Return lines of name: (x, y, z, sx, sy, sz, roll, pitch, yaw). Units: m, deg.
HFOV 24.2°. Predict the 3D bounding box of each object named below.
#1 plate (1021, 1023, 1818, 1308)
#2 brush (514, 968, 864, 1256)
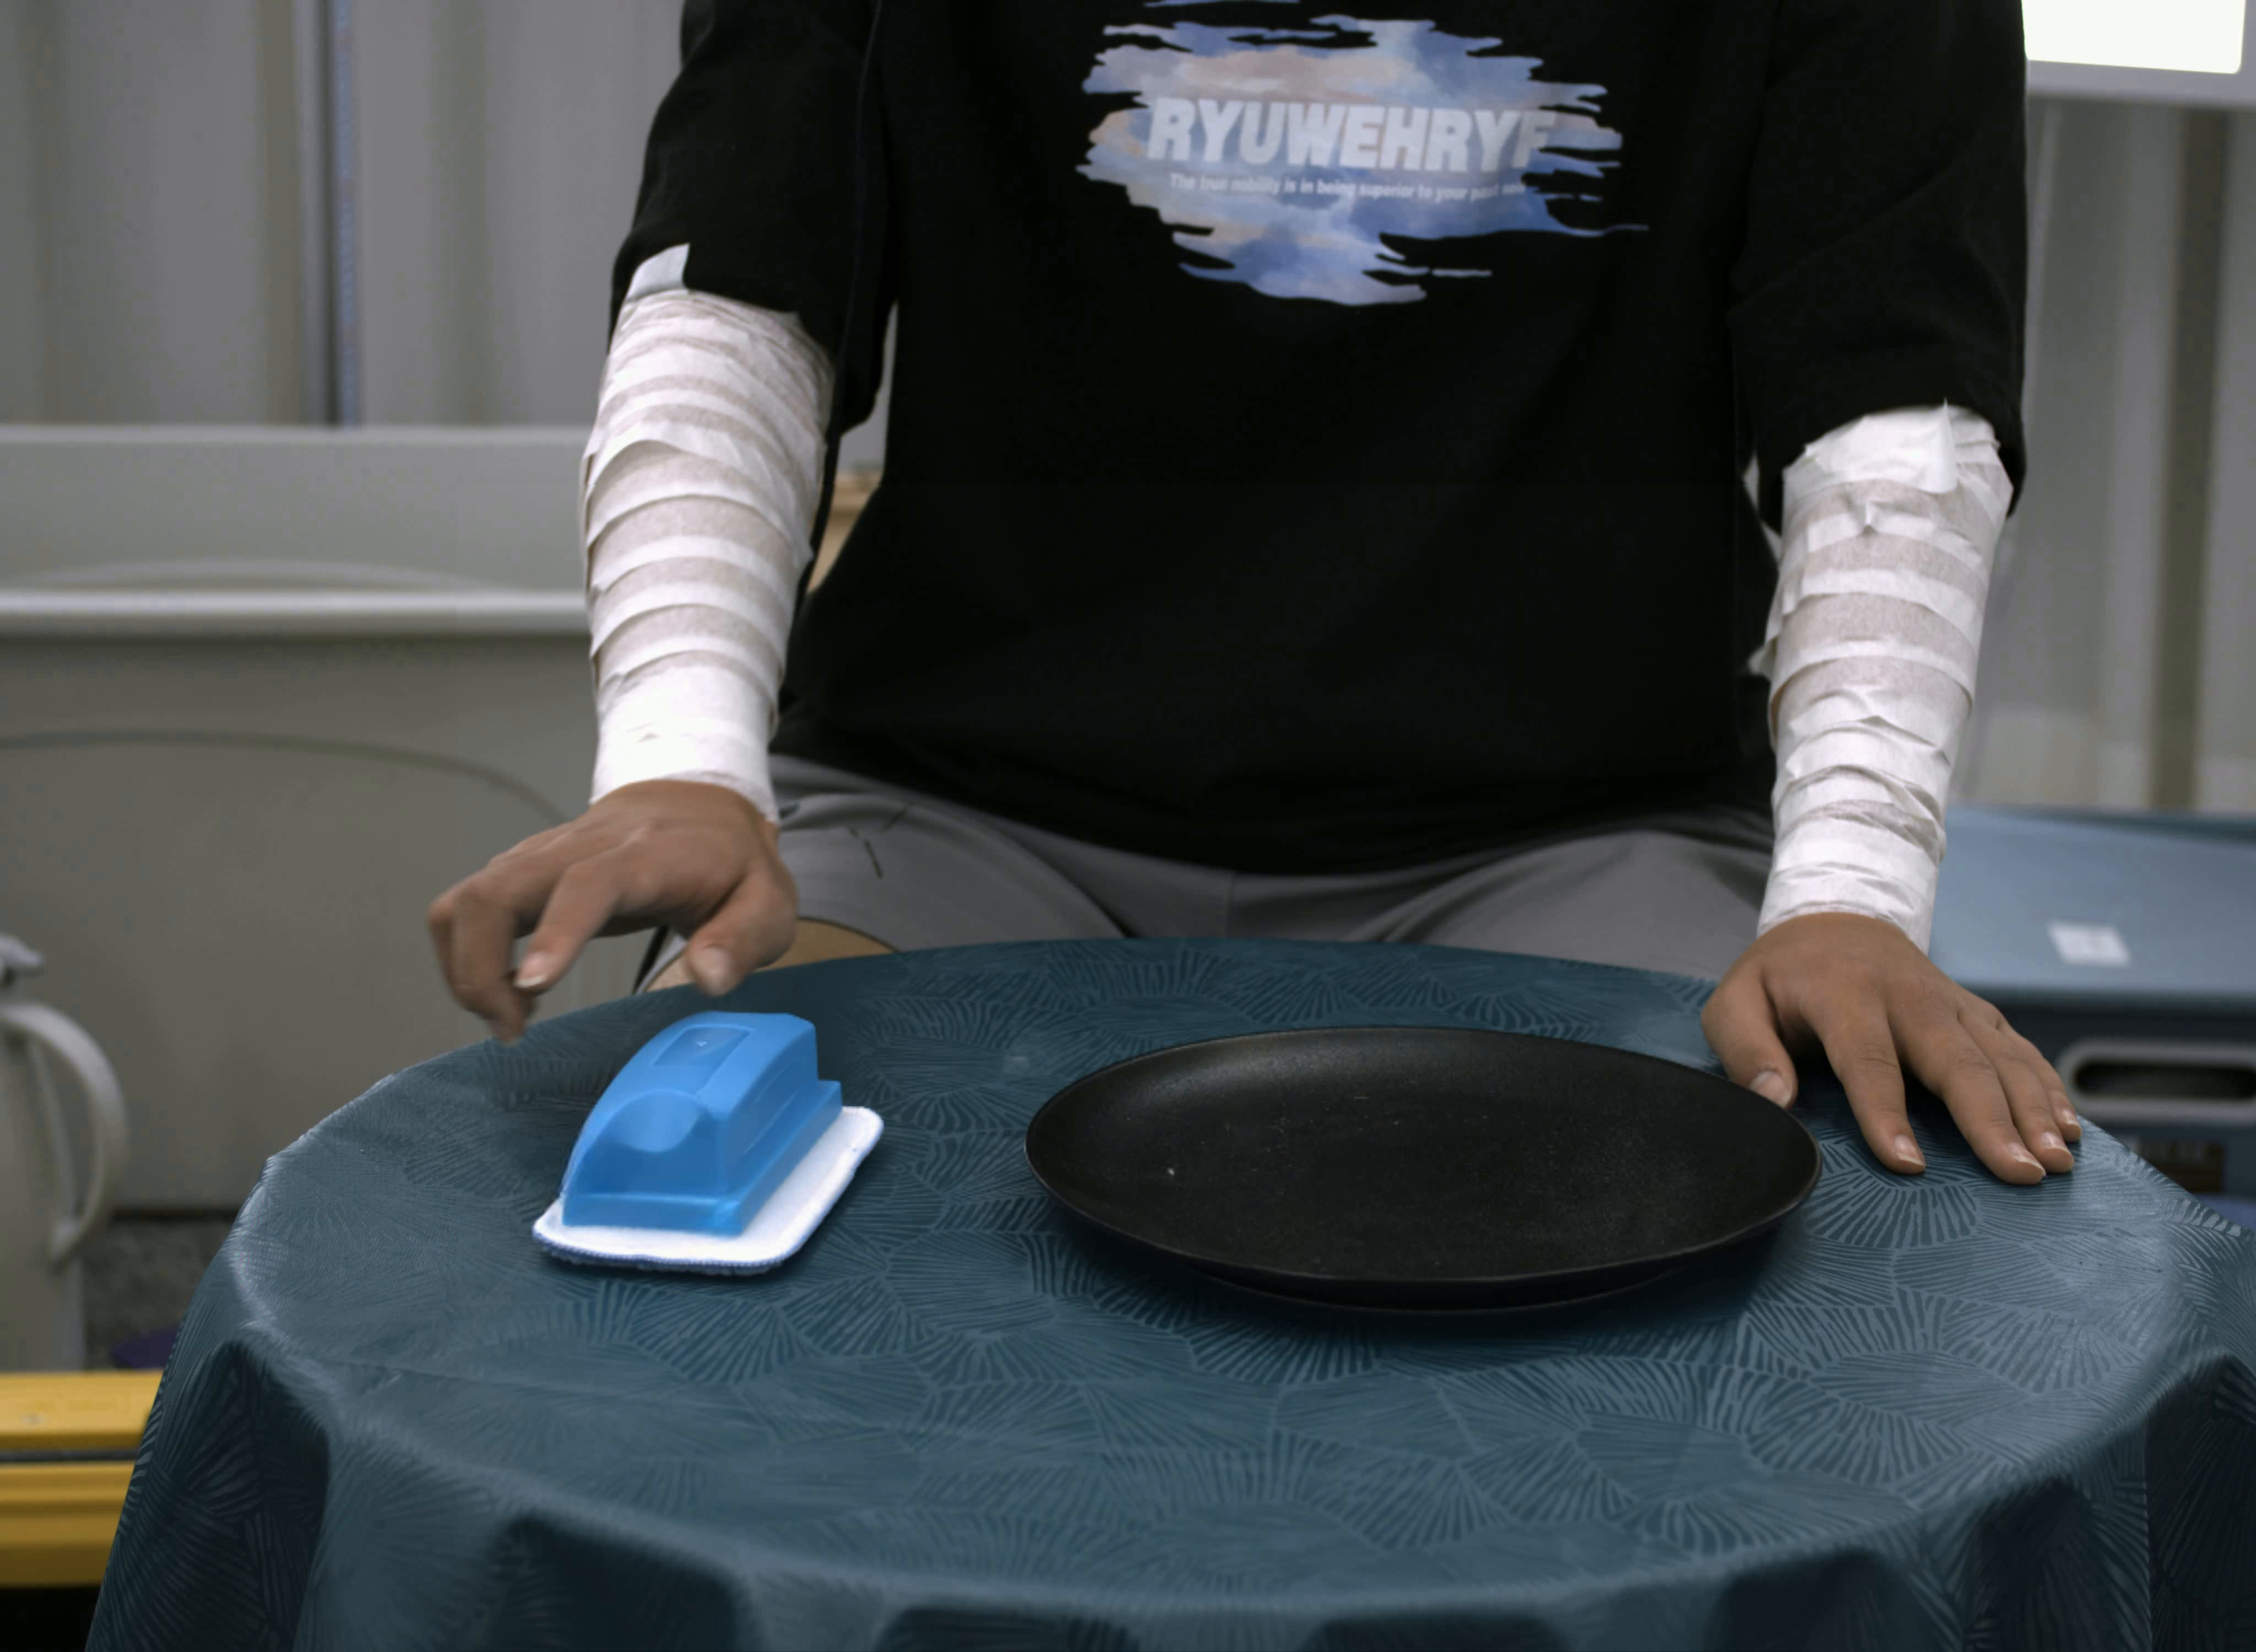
plate: (0.088, 0.106, 1.606, 0.243, 0.023, 0.243, 1, 15, 0)
brush: (-0.132, 0.083, 1.606, 0.083, 0.056, 0.143, 7, 19, 8)
